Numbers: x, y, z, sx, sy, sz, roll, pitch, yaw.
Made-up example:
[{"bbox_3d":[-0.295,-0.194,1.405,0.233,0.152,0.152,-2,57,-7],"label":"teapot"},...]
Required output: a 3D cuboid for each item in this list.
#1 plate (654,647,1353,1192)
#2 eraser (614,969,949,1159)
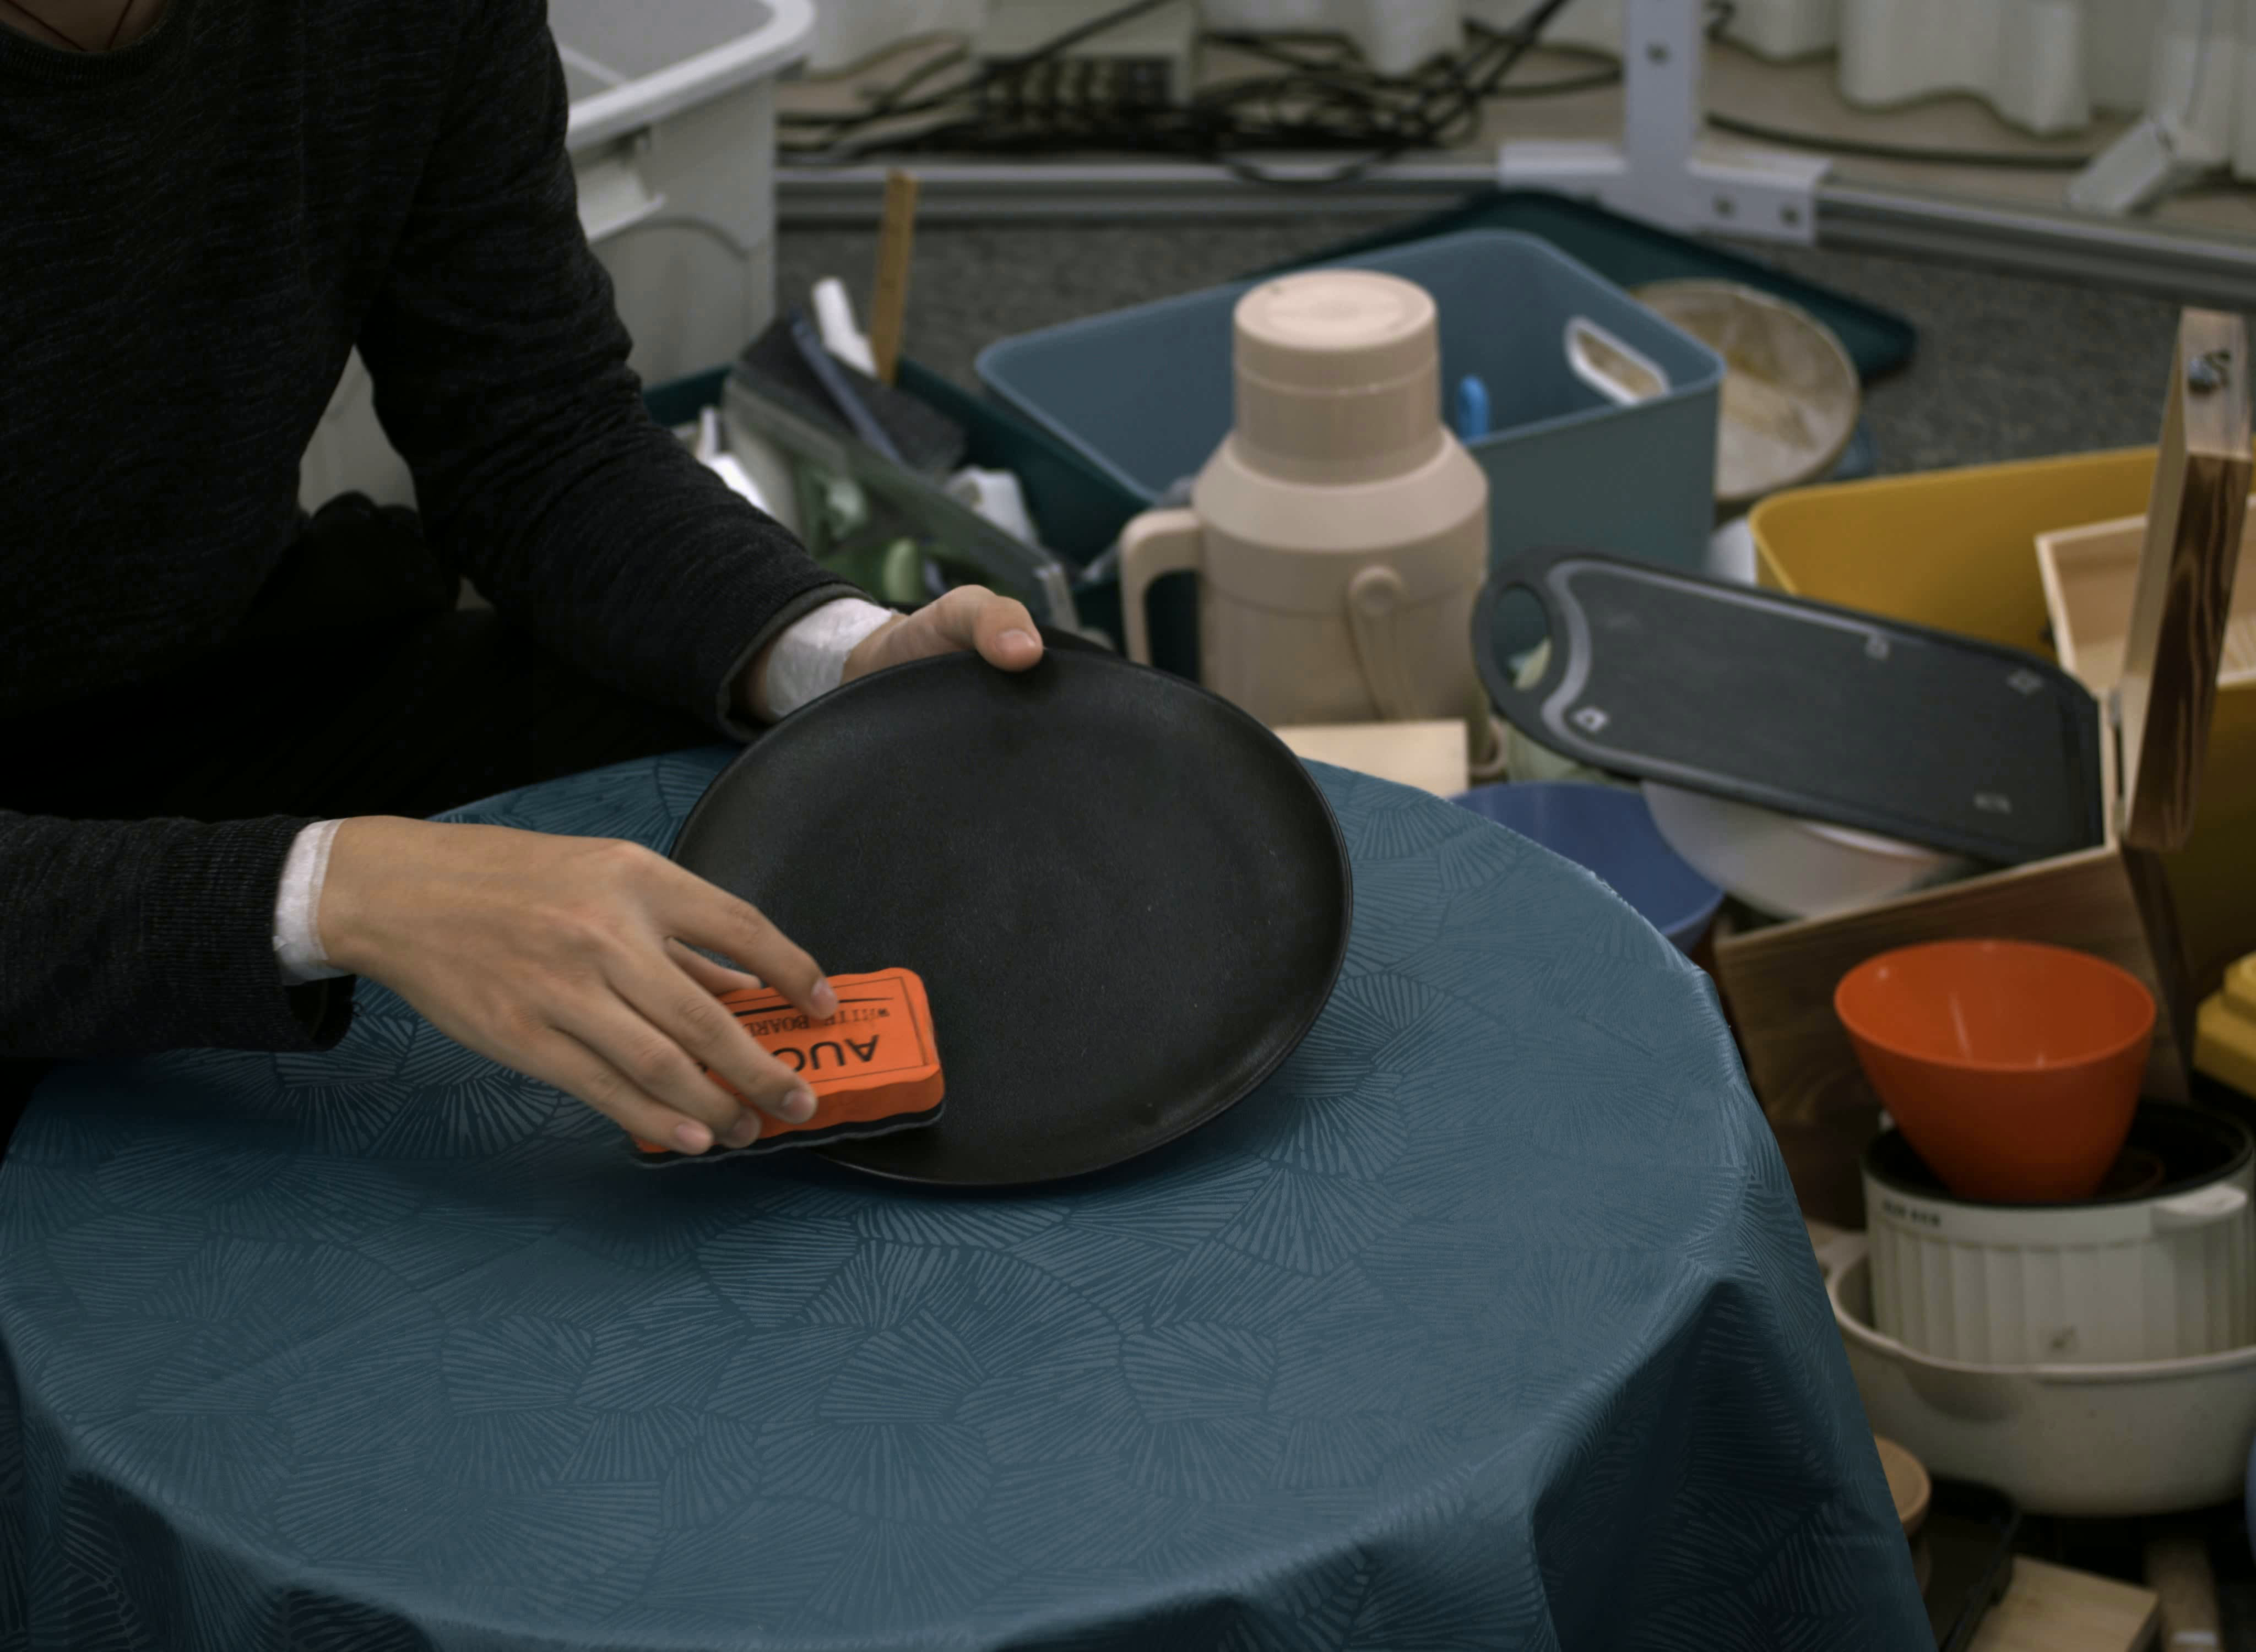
[{"bbox_3d":[-0.042,0.033,1.944,0.243,0.023,0.249,-3,48,3],"label":"plate"},{"bbox_3d":[-0.116,0.080,1.881,0.108,0.022,0.060,-8,38,-10],"label":"eraser"}]
